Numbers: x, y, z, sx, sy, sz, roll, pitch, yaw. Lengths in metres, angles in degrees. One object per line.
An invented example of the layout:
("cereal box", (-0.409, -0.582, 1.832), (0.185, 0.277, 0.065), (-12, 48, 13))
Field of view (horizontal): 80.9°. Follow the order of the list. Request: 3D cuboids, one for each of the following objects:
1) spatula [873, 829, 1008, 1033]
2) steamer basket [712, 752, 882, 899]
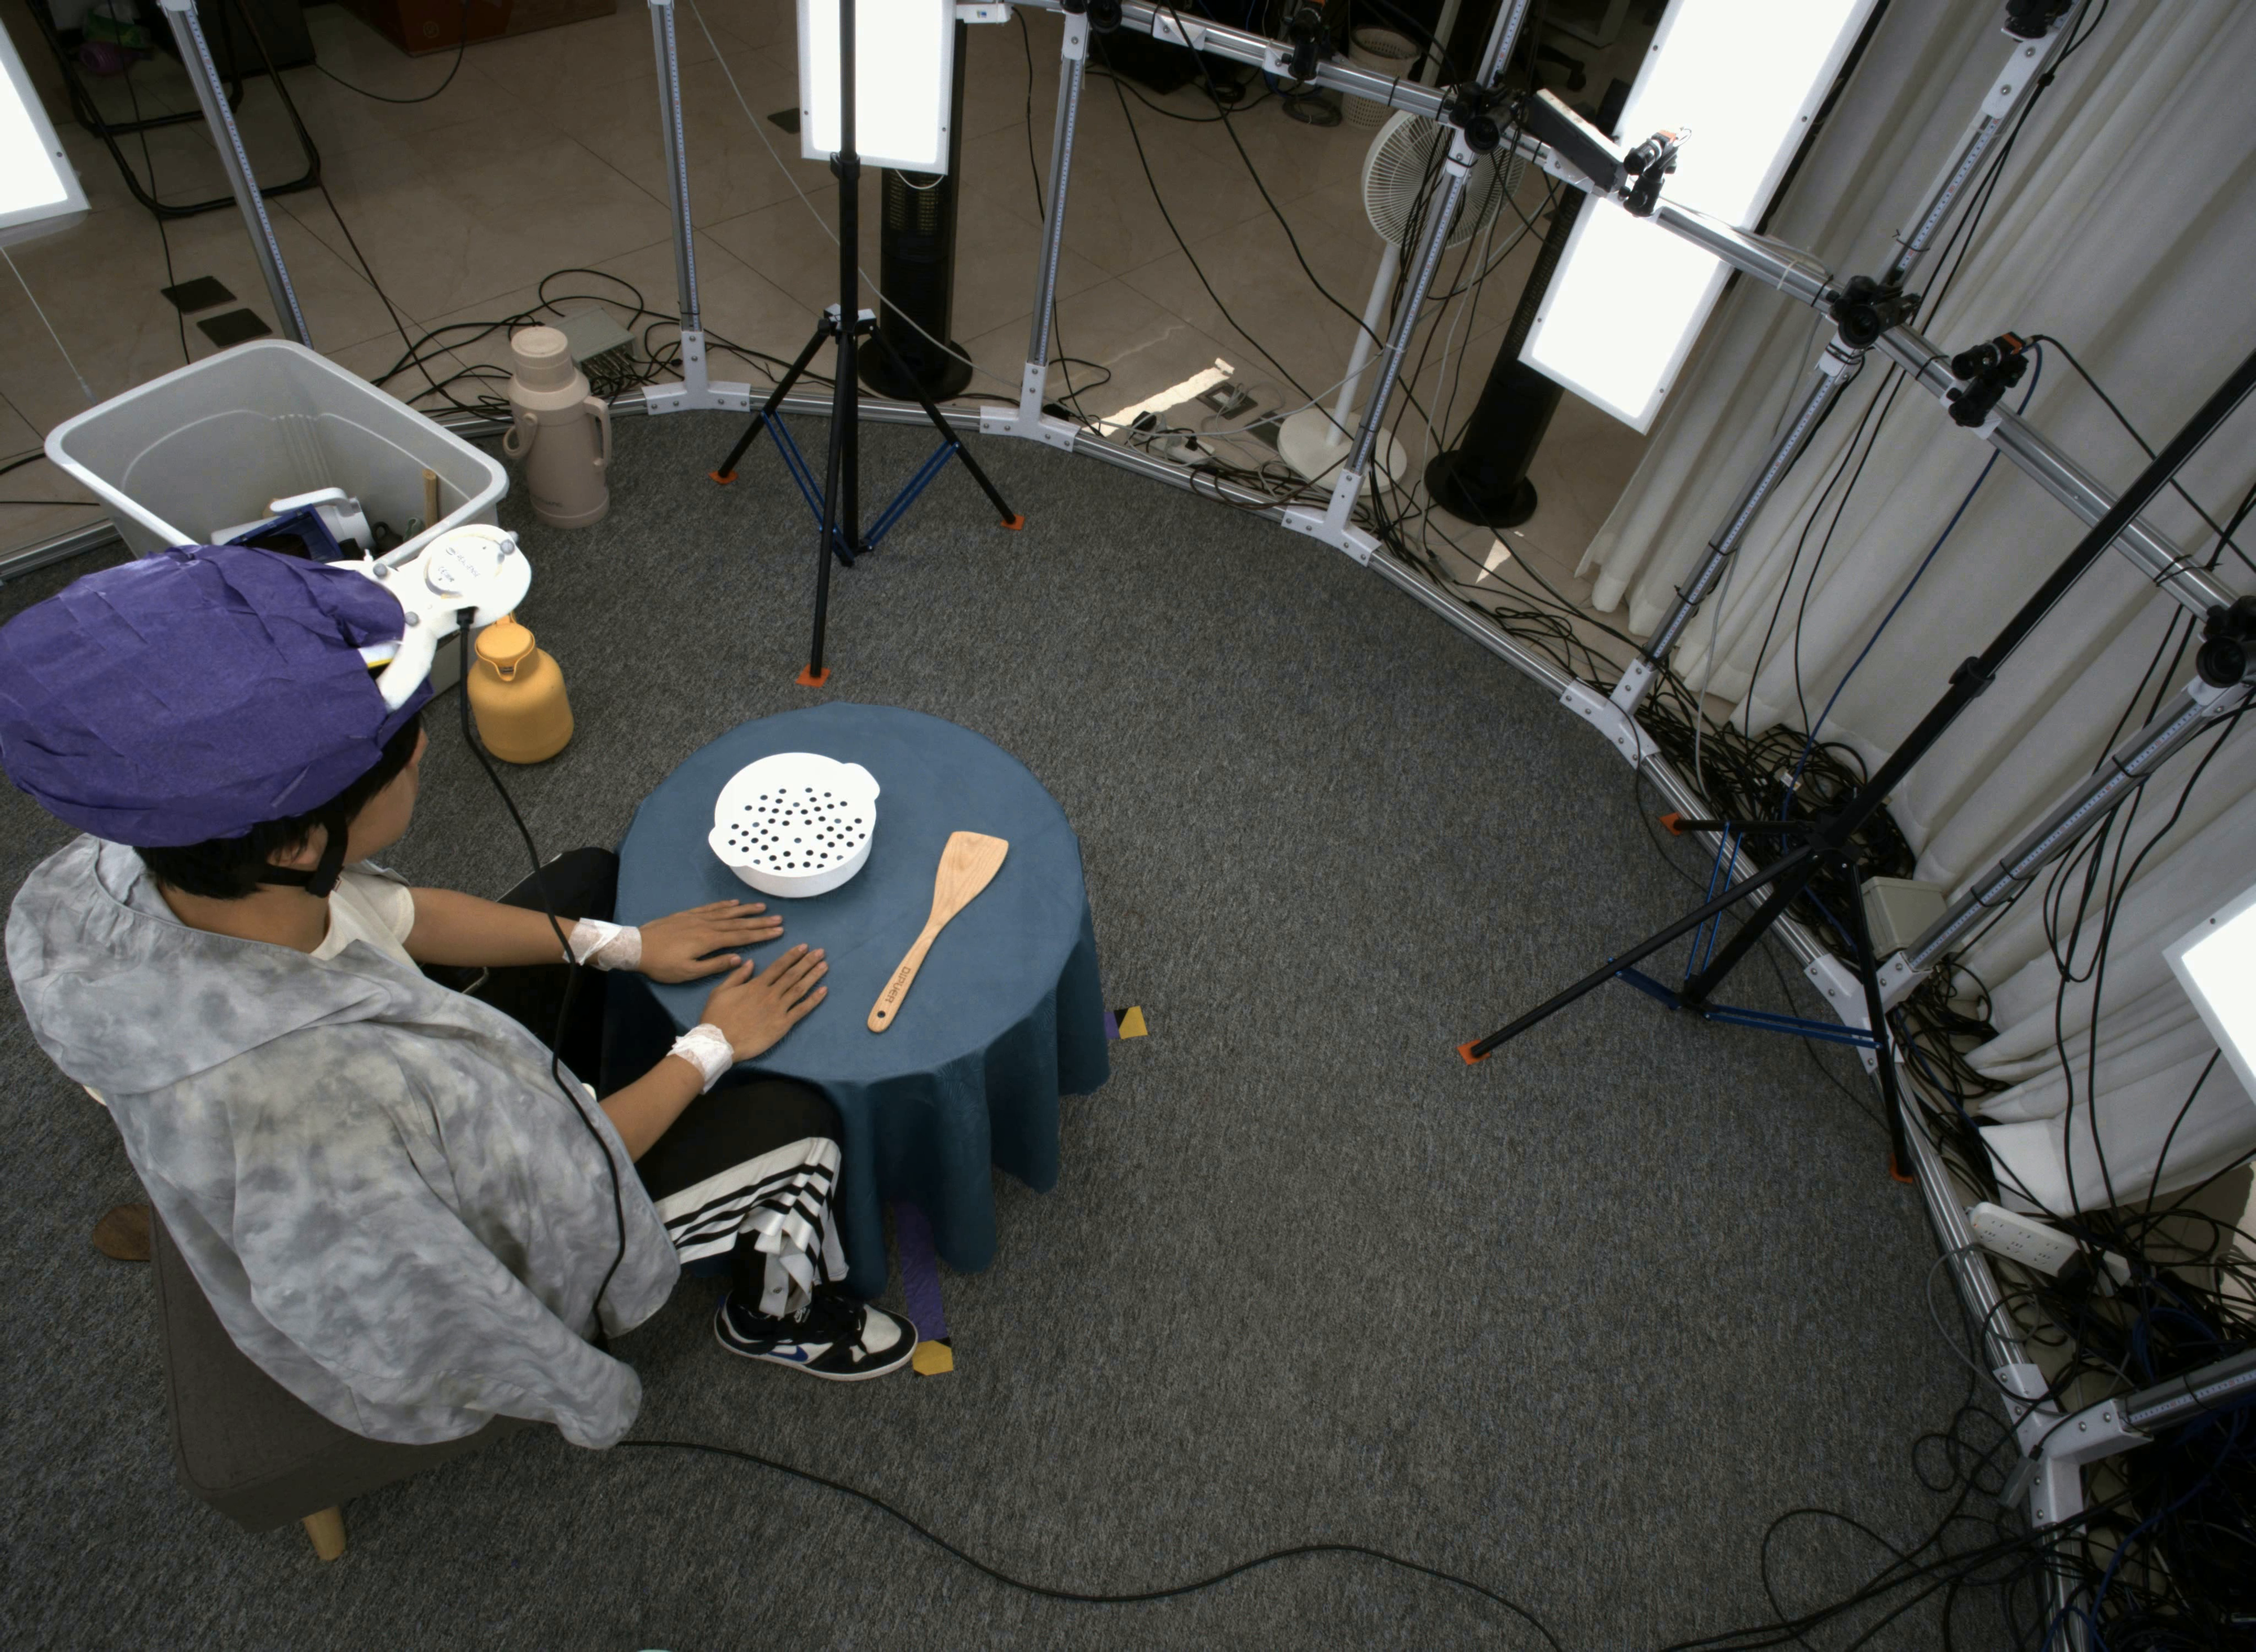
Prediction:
("spatula", (-0.248, 0.126, 1.665), (0.079, 0.017, 0.325), (22, 52, 4))
("steamer basket", (-0.425, -0.001, 1.685), (0.231, 0.071, 0.197), (-31, 64, -29))
